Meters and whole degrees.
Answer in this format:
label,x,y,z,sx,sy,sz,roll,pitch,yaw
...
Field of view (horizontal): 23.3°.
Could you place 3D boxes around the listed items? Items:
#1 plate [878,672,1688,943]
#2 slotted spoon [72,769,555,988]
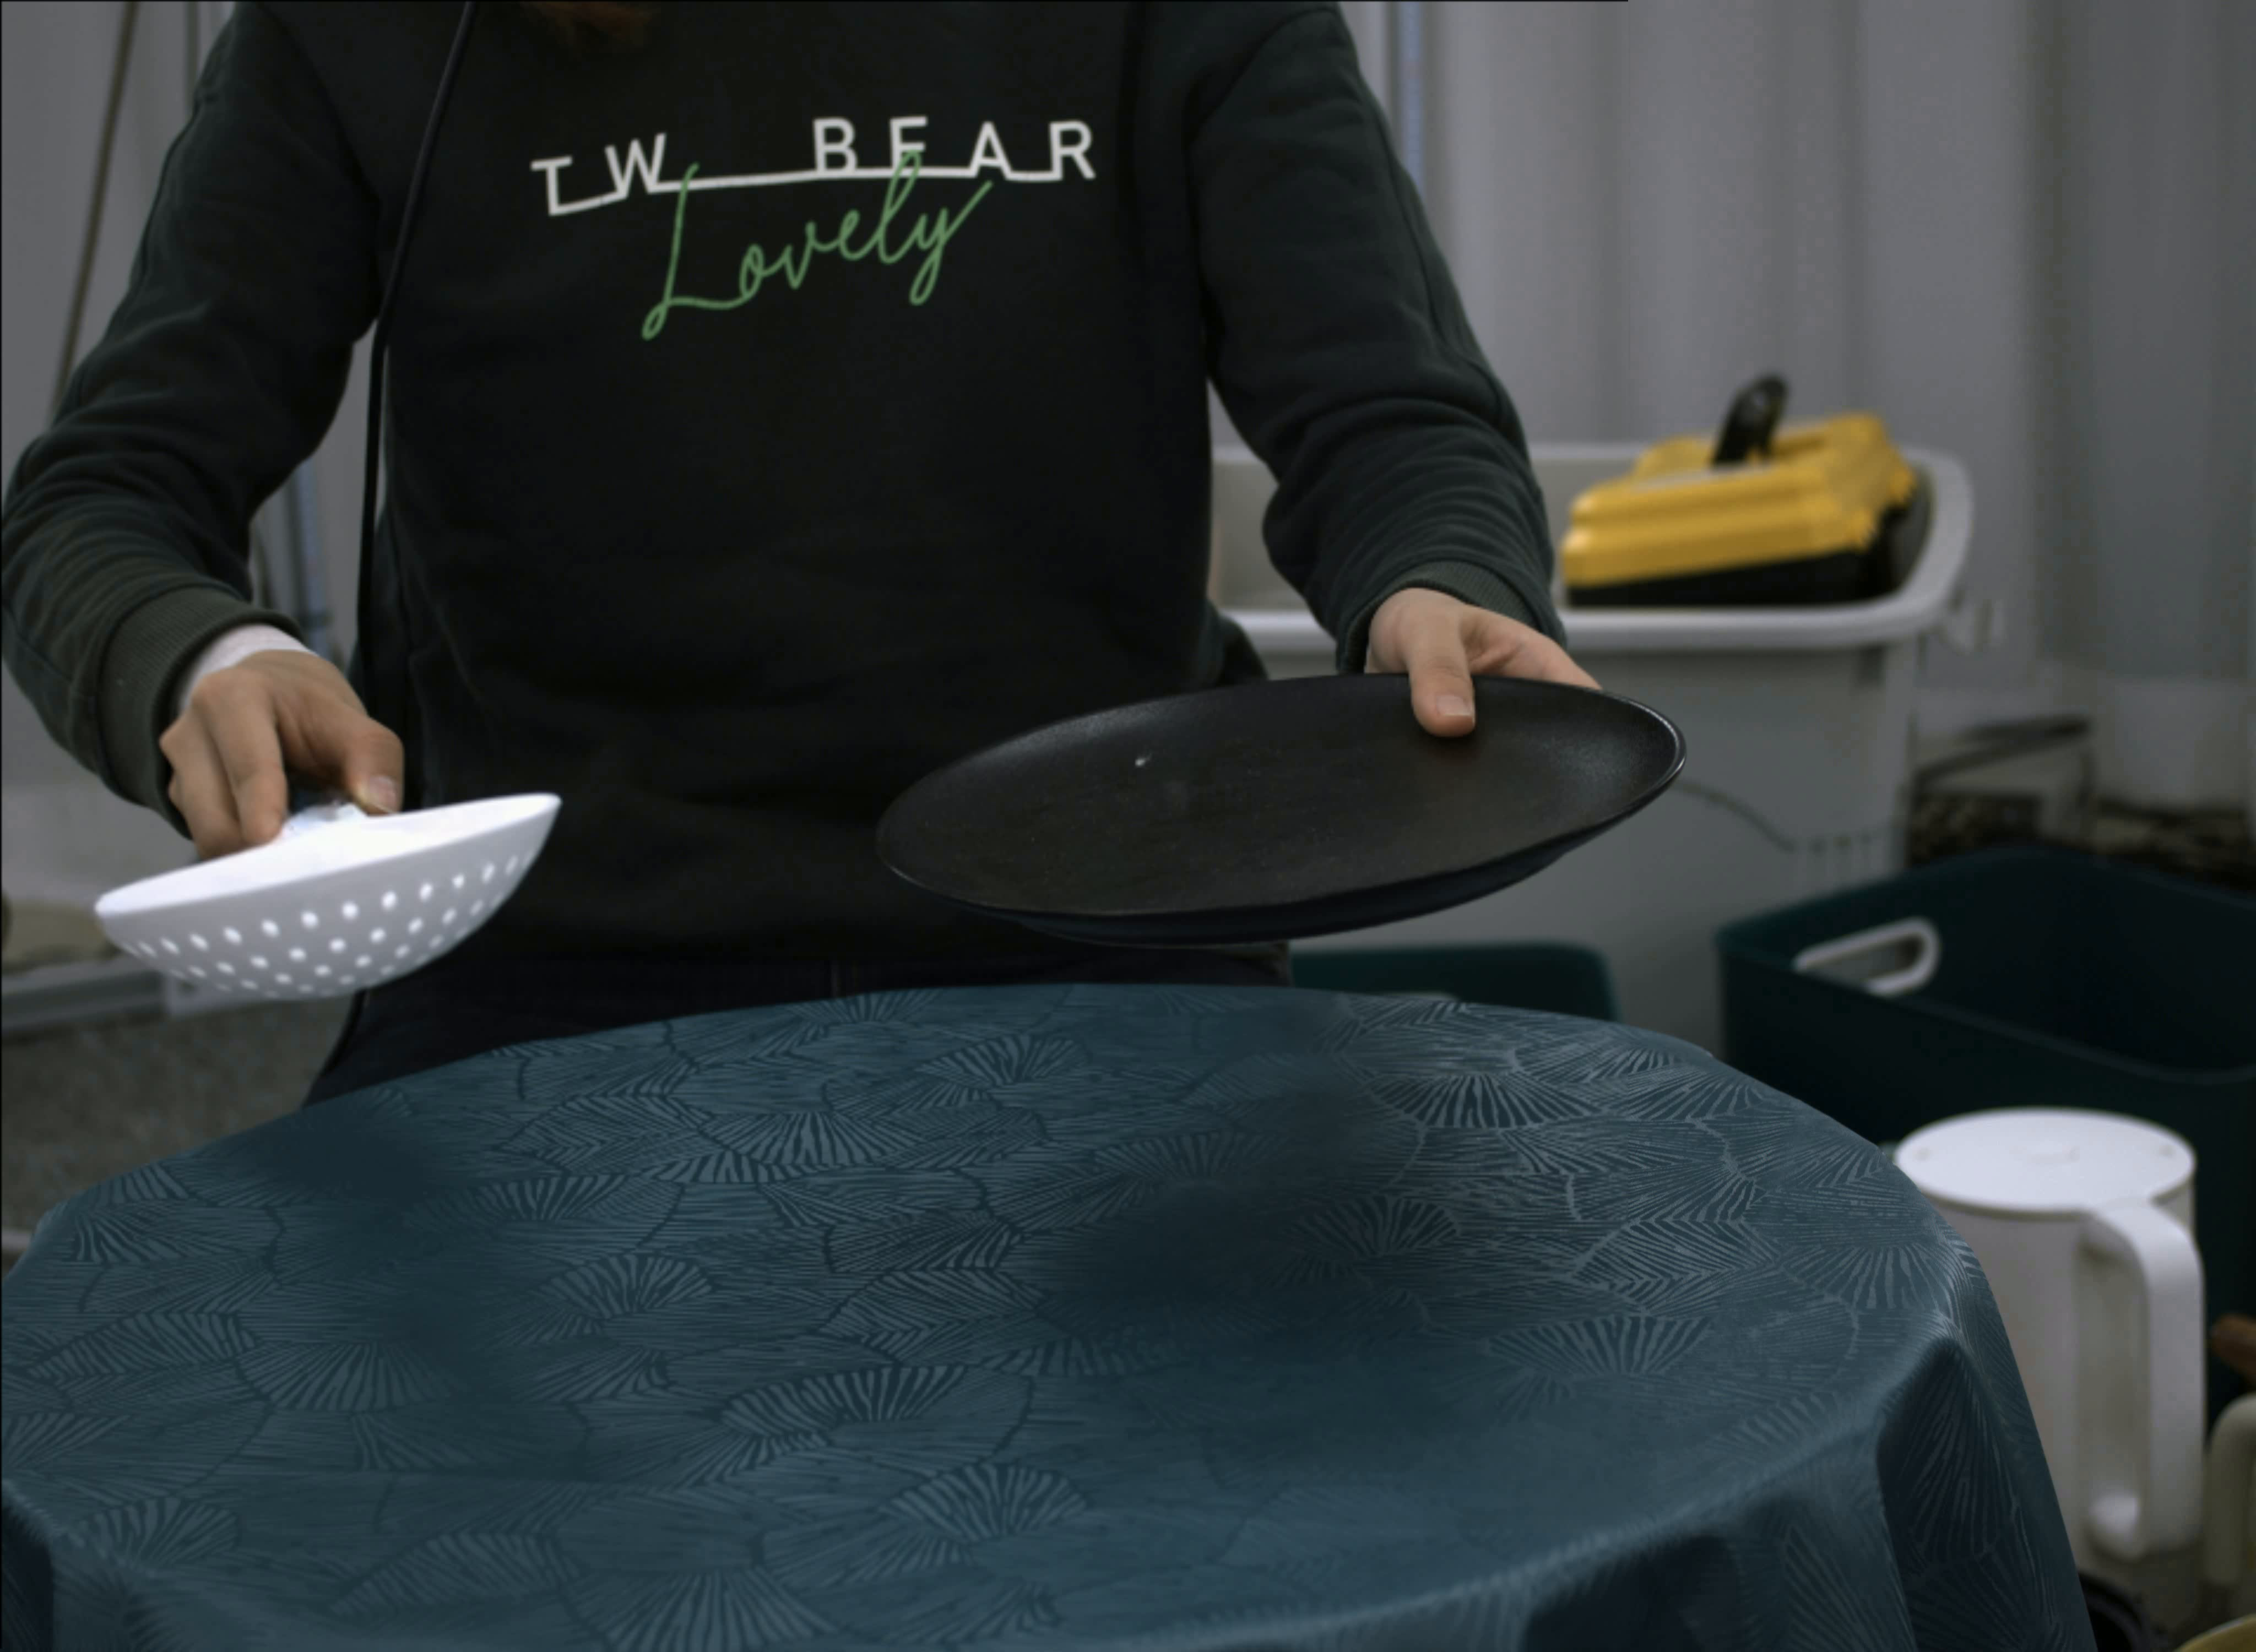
label,x,y,z,sx,sy,sz,roll,pitch,yaw
plate,0.046,-0.003,1.633,0.243,0.023,0.246,-7,16,2
slotted spoon,-0.239,0.004,1.628,0.135,0.045,0.351,-12,10,-7
